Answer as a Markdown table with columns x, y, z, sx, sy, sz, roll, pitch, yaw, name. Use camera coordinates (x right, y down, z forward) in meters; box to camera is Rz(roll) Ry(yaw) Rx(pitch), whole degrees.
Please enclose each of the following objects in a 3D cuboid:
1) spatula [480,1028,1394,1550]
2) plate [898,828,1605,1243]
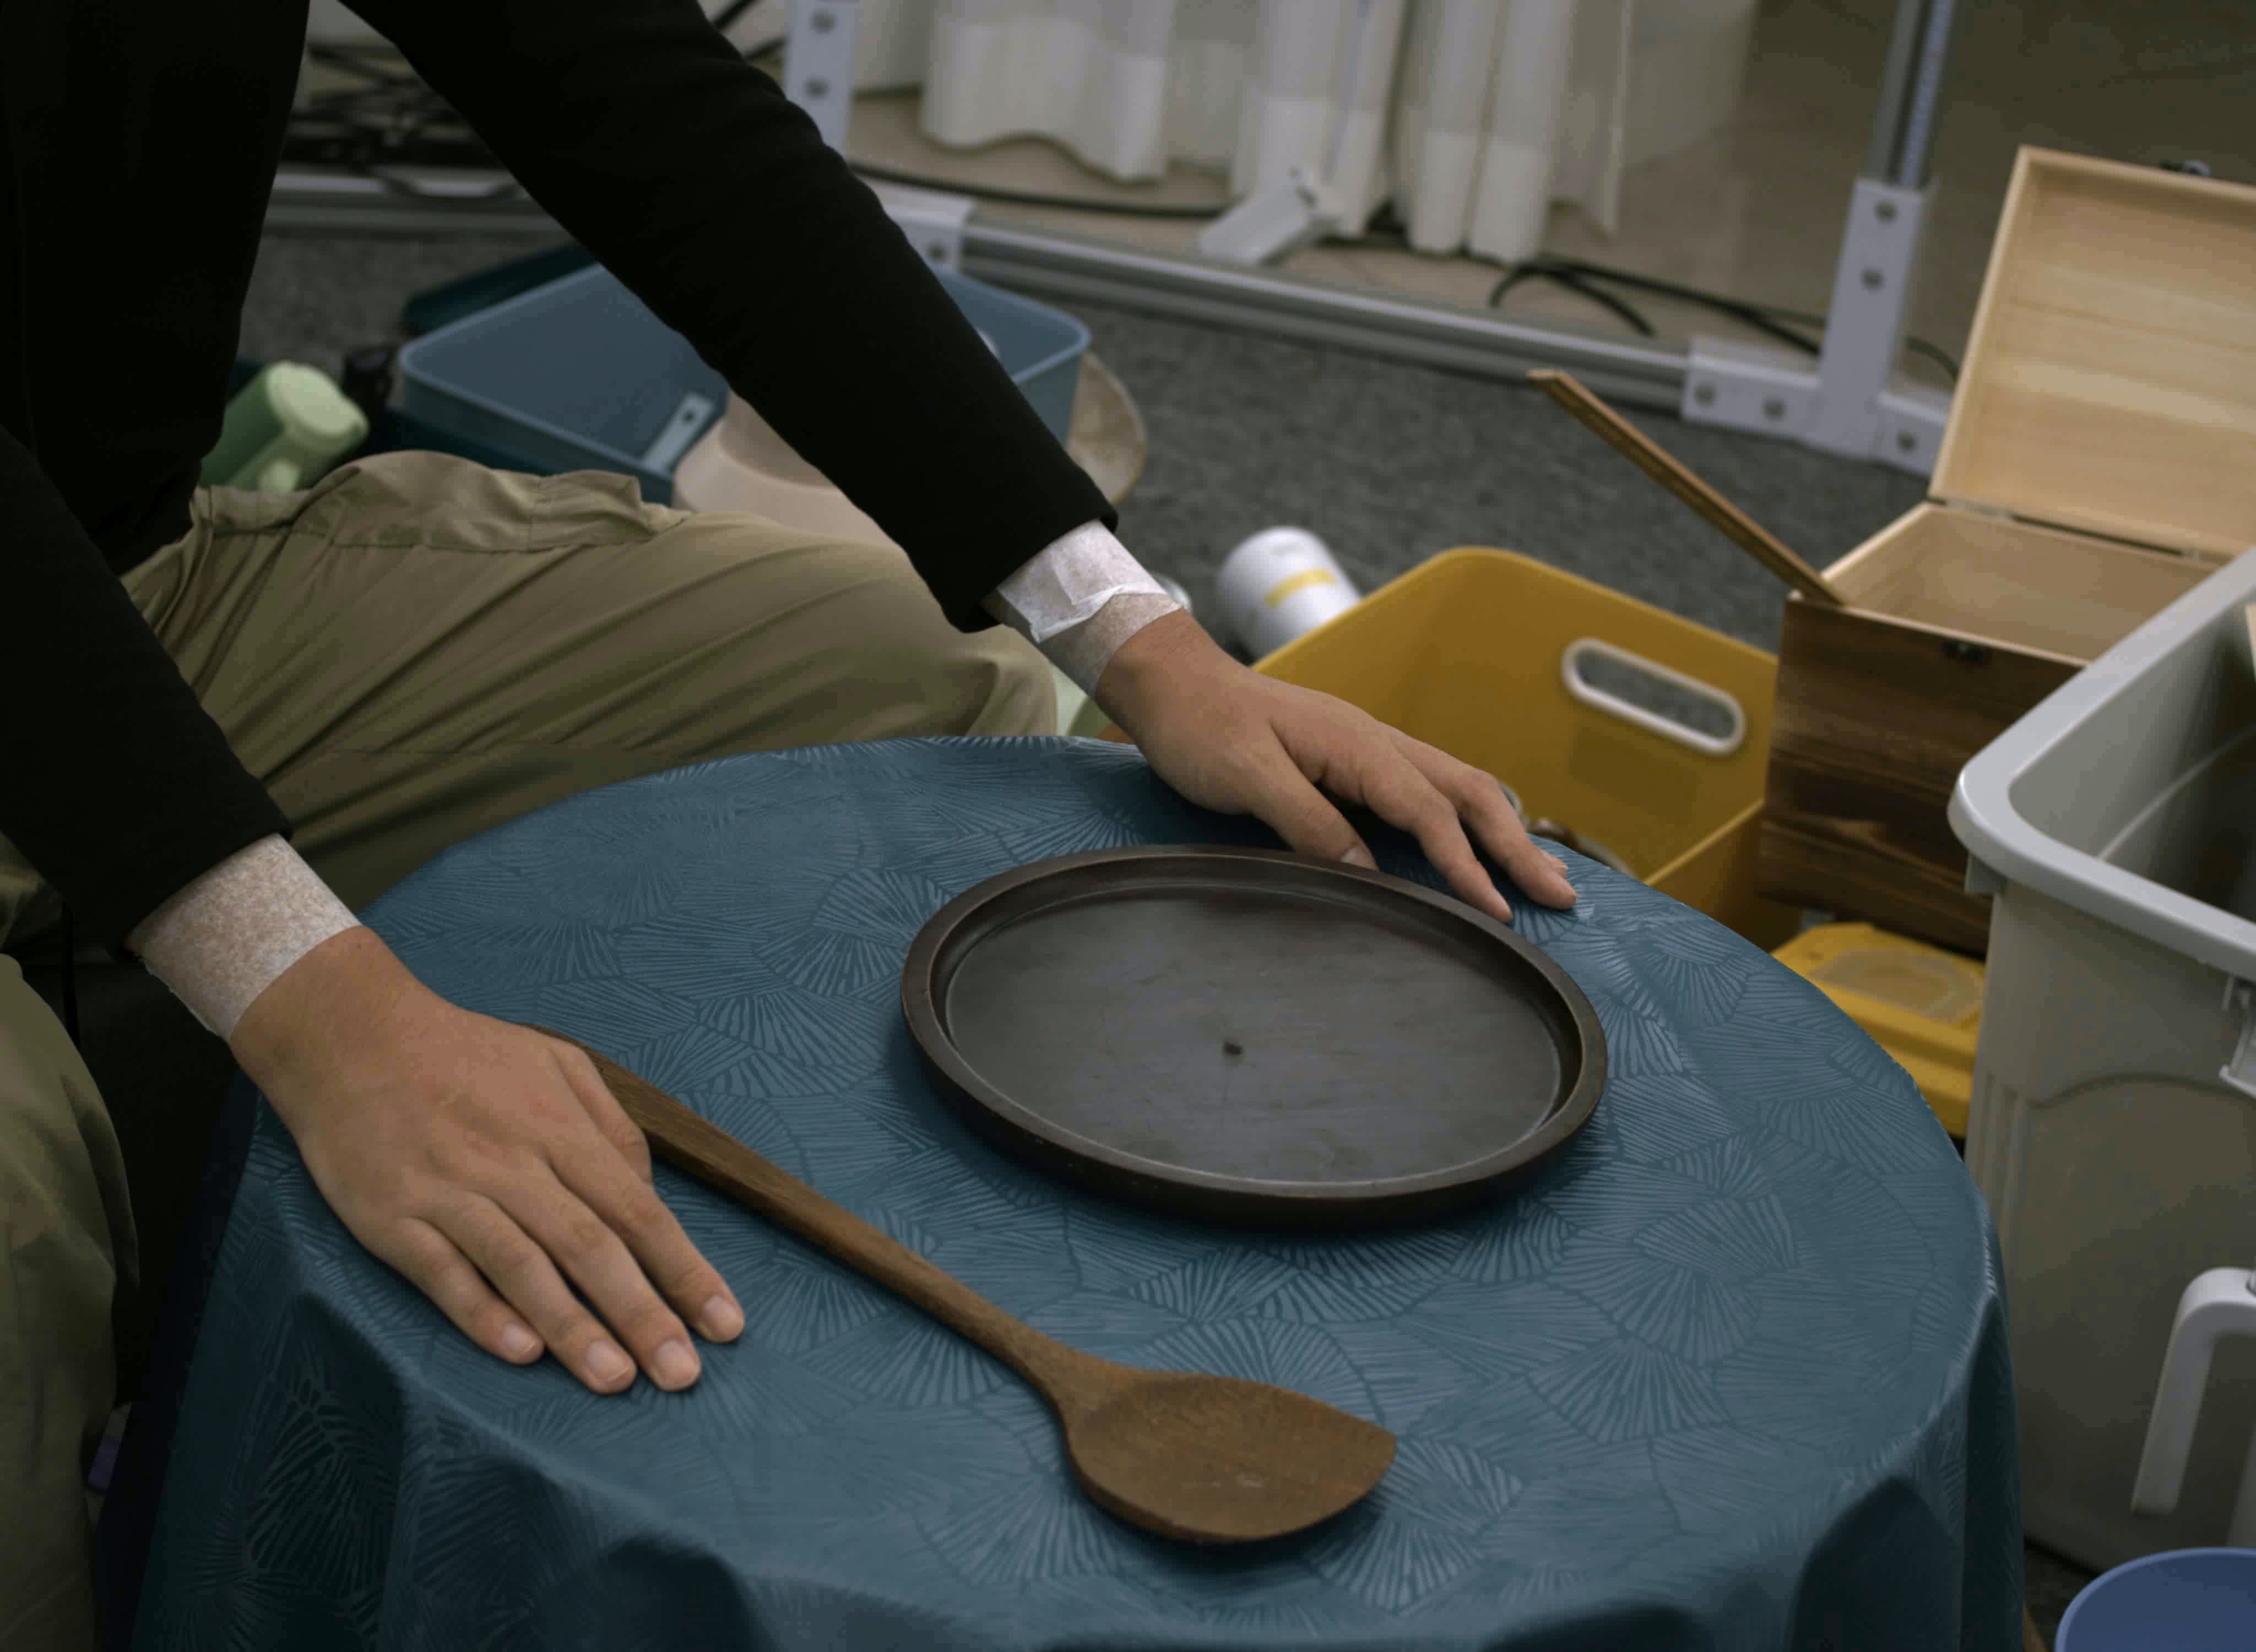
| x | y | z | sx | sy | sz | roll | pitch | yaw | name |
| --- | --- | --- | --- | --- | --- | --- | --- | --- | --- |
| -0.079 | 0.142 | 1.732 | 0.389 | 0.016 | 0.095 | 27 | 33 | 35 | spatula |
| 0.043 | 0.074 | 1.884 | 0.254 | 0.029 | 0.256 | 5 | 28 | -3 | plate |
